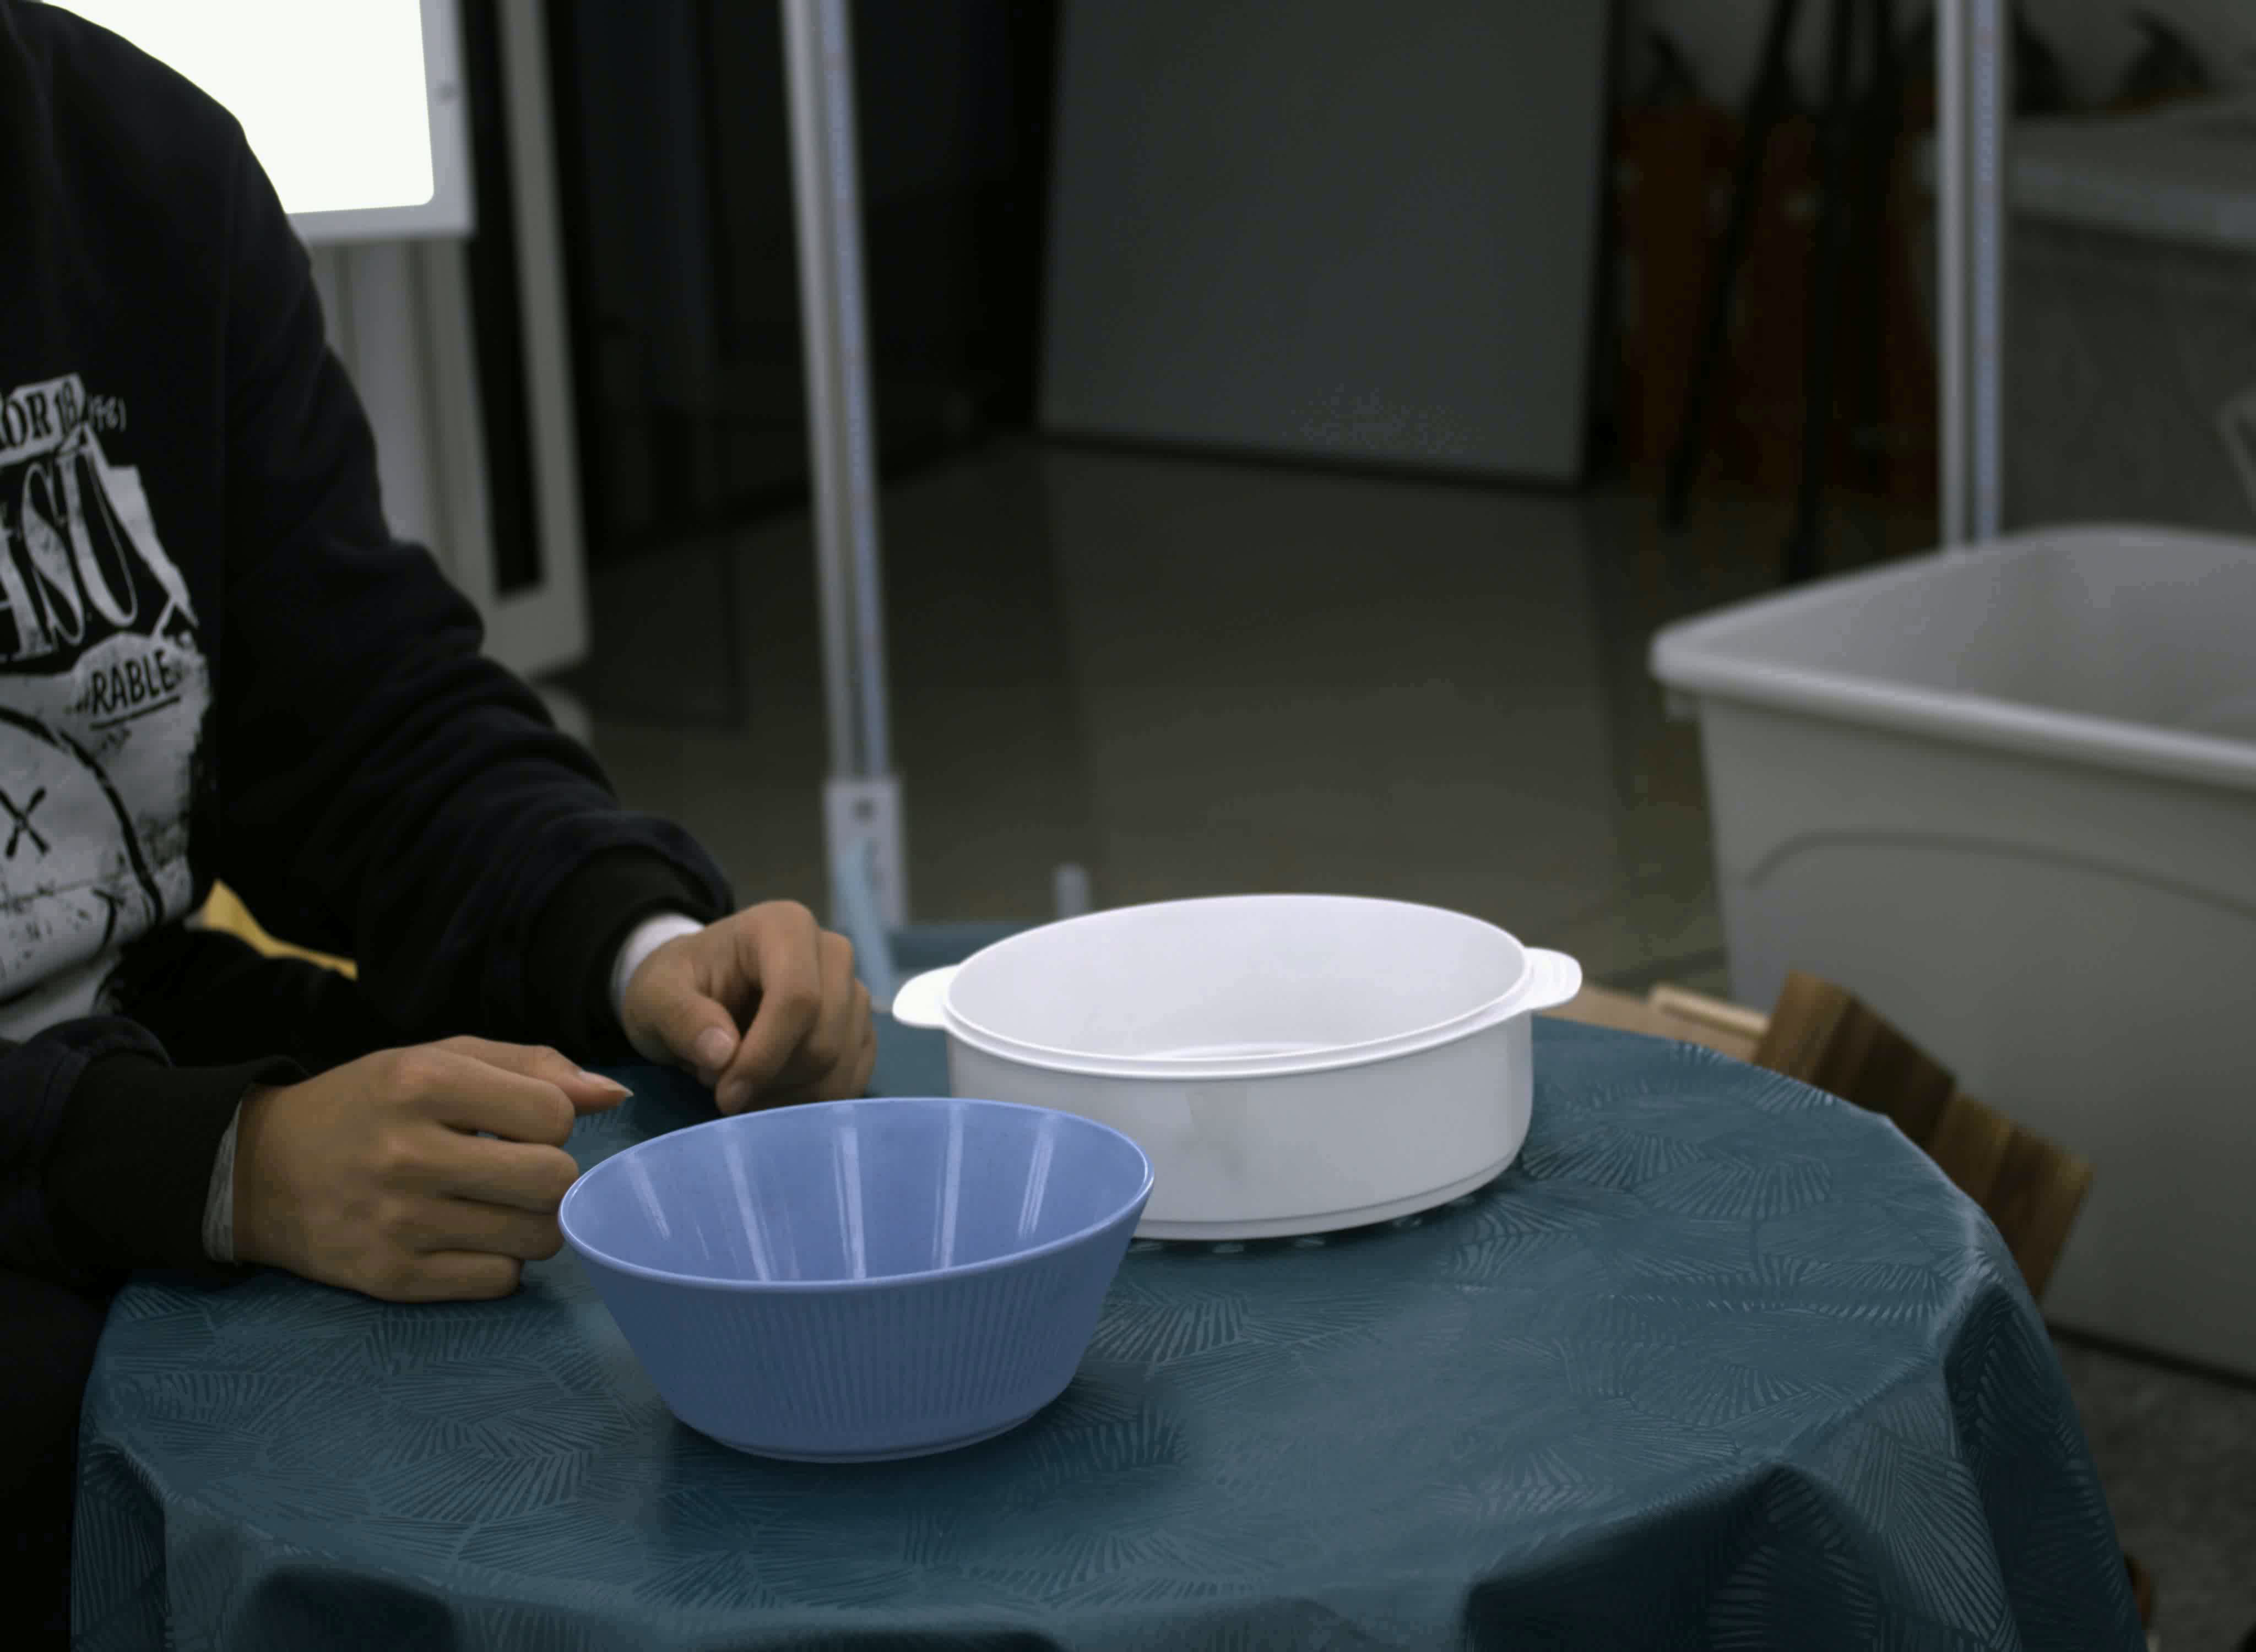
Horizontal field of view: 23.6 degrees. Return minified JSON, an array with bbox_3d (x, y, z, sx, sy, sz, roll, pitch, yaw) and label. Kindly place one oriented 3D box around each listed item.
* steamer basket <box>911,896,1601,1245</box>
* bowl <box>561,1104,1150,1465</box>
[{"bbox_3d":[0.043,0.080,1.782,0.228,0.070,0.201,0,14,7],"label":"steamer basket"},{"bbox_3d":[-0.078,0.137,1.583,0.174,0.071,0.176,-4,13,0],"label":"bowl"}]
